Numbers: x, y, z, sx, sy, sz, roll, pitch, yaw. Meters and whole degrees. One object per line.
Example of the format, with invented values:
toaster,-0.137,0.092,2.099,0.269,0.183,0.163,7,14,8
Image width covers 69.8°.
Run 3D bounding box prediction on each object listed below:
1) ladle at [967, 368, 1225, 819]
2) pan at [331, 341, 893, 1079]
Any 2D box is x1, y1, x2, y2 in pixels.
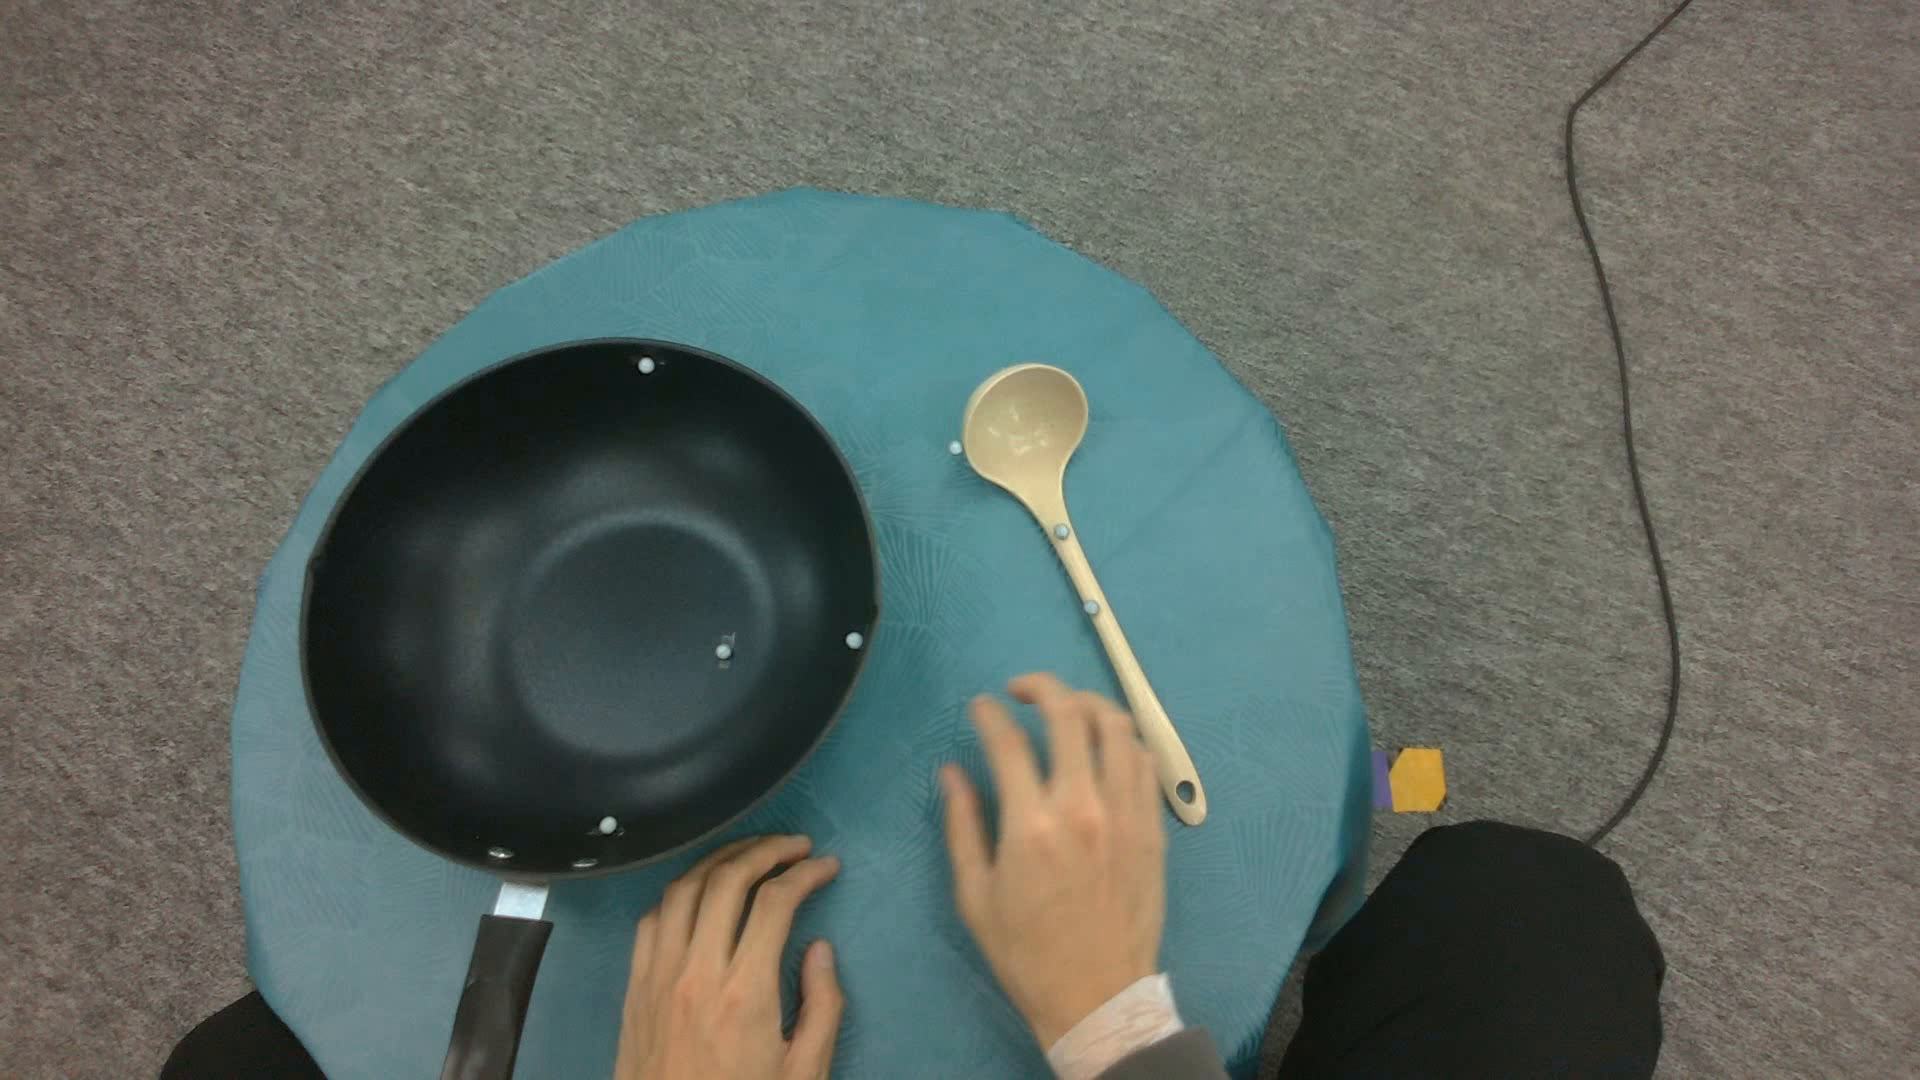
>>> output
ladle,0.080,0.022,0.720,0.072,0.072,0.255,-22,68,-13
pan,-0.185,0.123,0.690,0.288,0.086,0.465,6,70,6
